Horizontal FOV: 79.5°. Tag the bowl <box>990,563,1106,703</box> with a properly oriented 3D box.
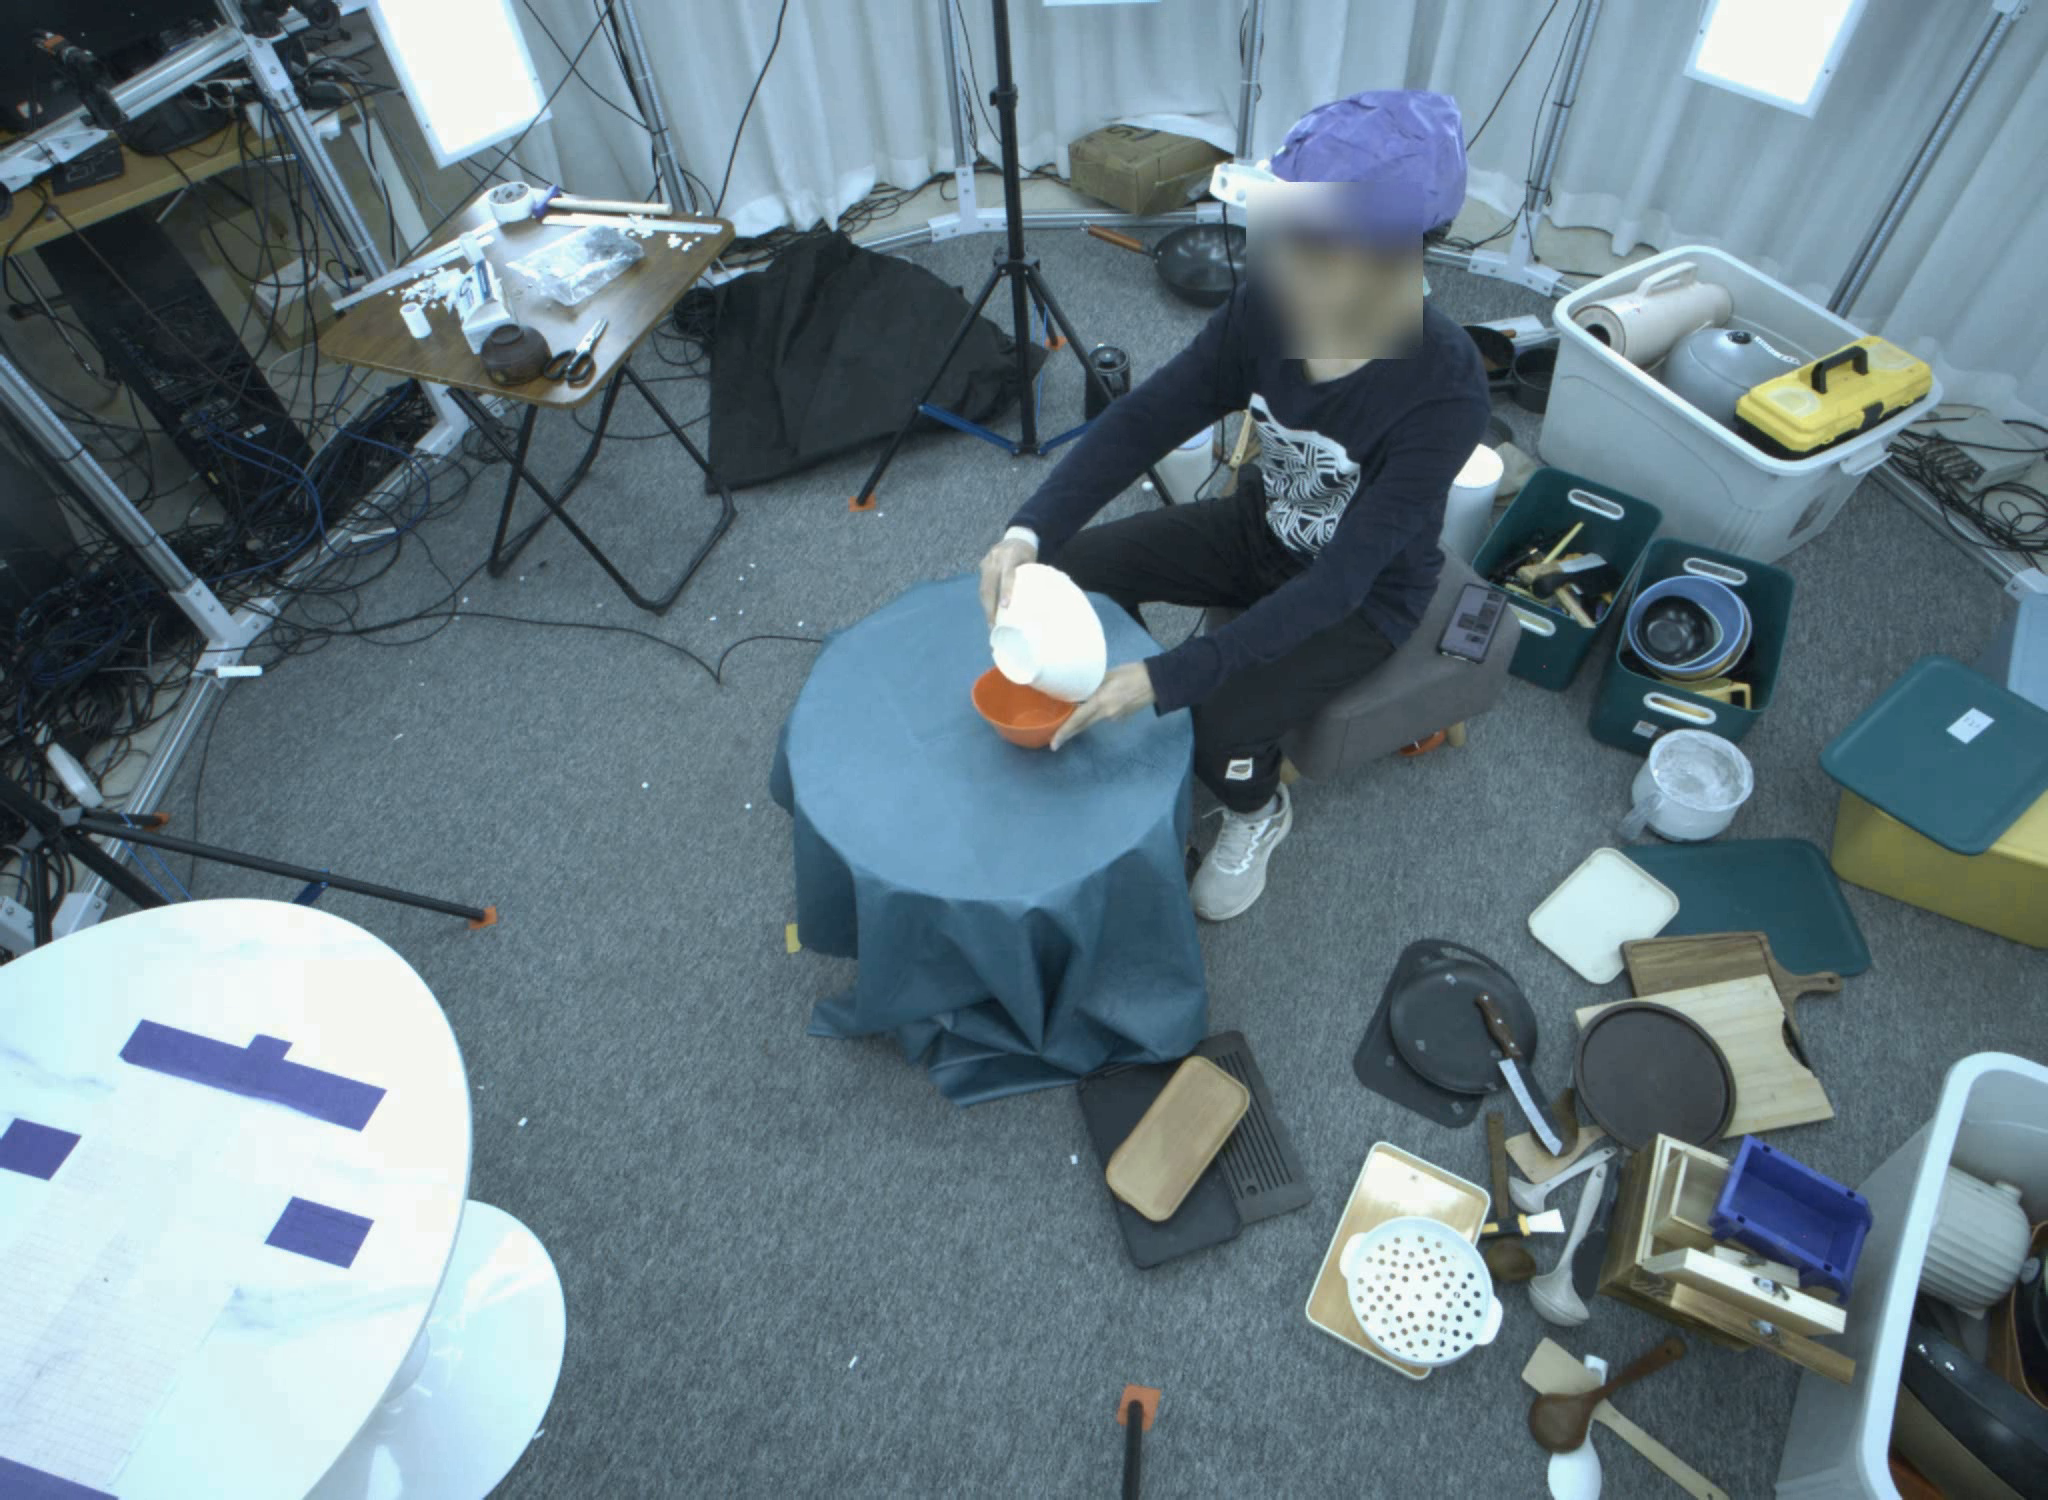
[{"bbox_3d":[0.011,-0.146,1.675,0.200,0.205,0.079,37,48,25],"label":"bowl"}]

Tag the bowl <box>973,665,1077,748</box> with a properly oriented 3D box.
[{"bbox_3d":[0.003,-0.053,1.769,0.148,0.106,0.146,0,50,2],"label":"bowl"}]
